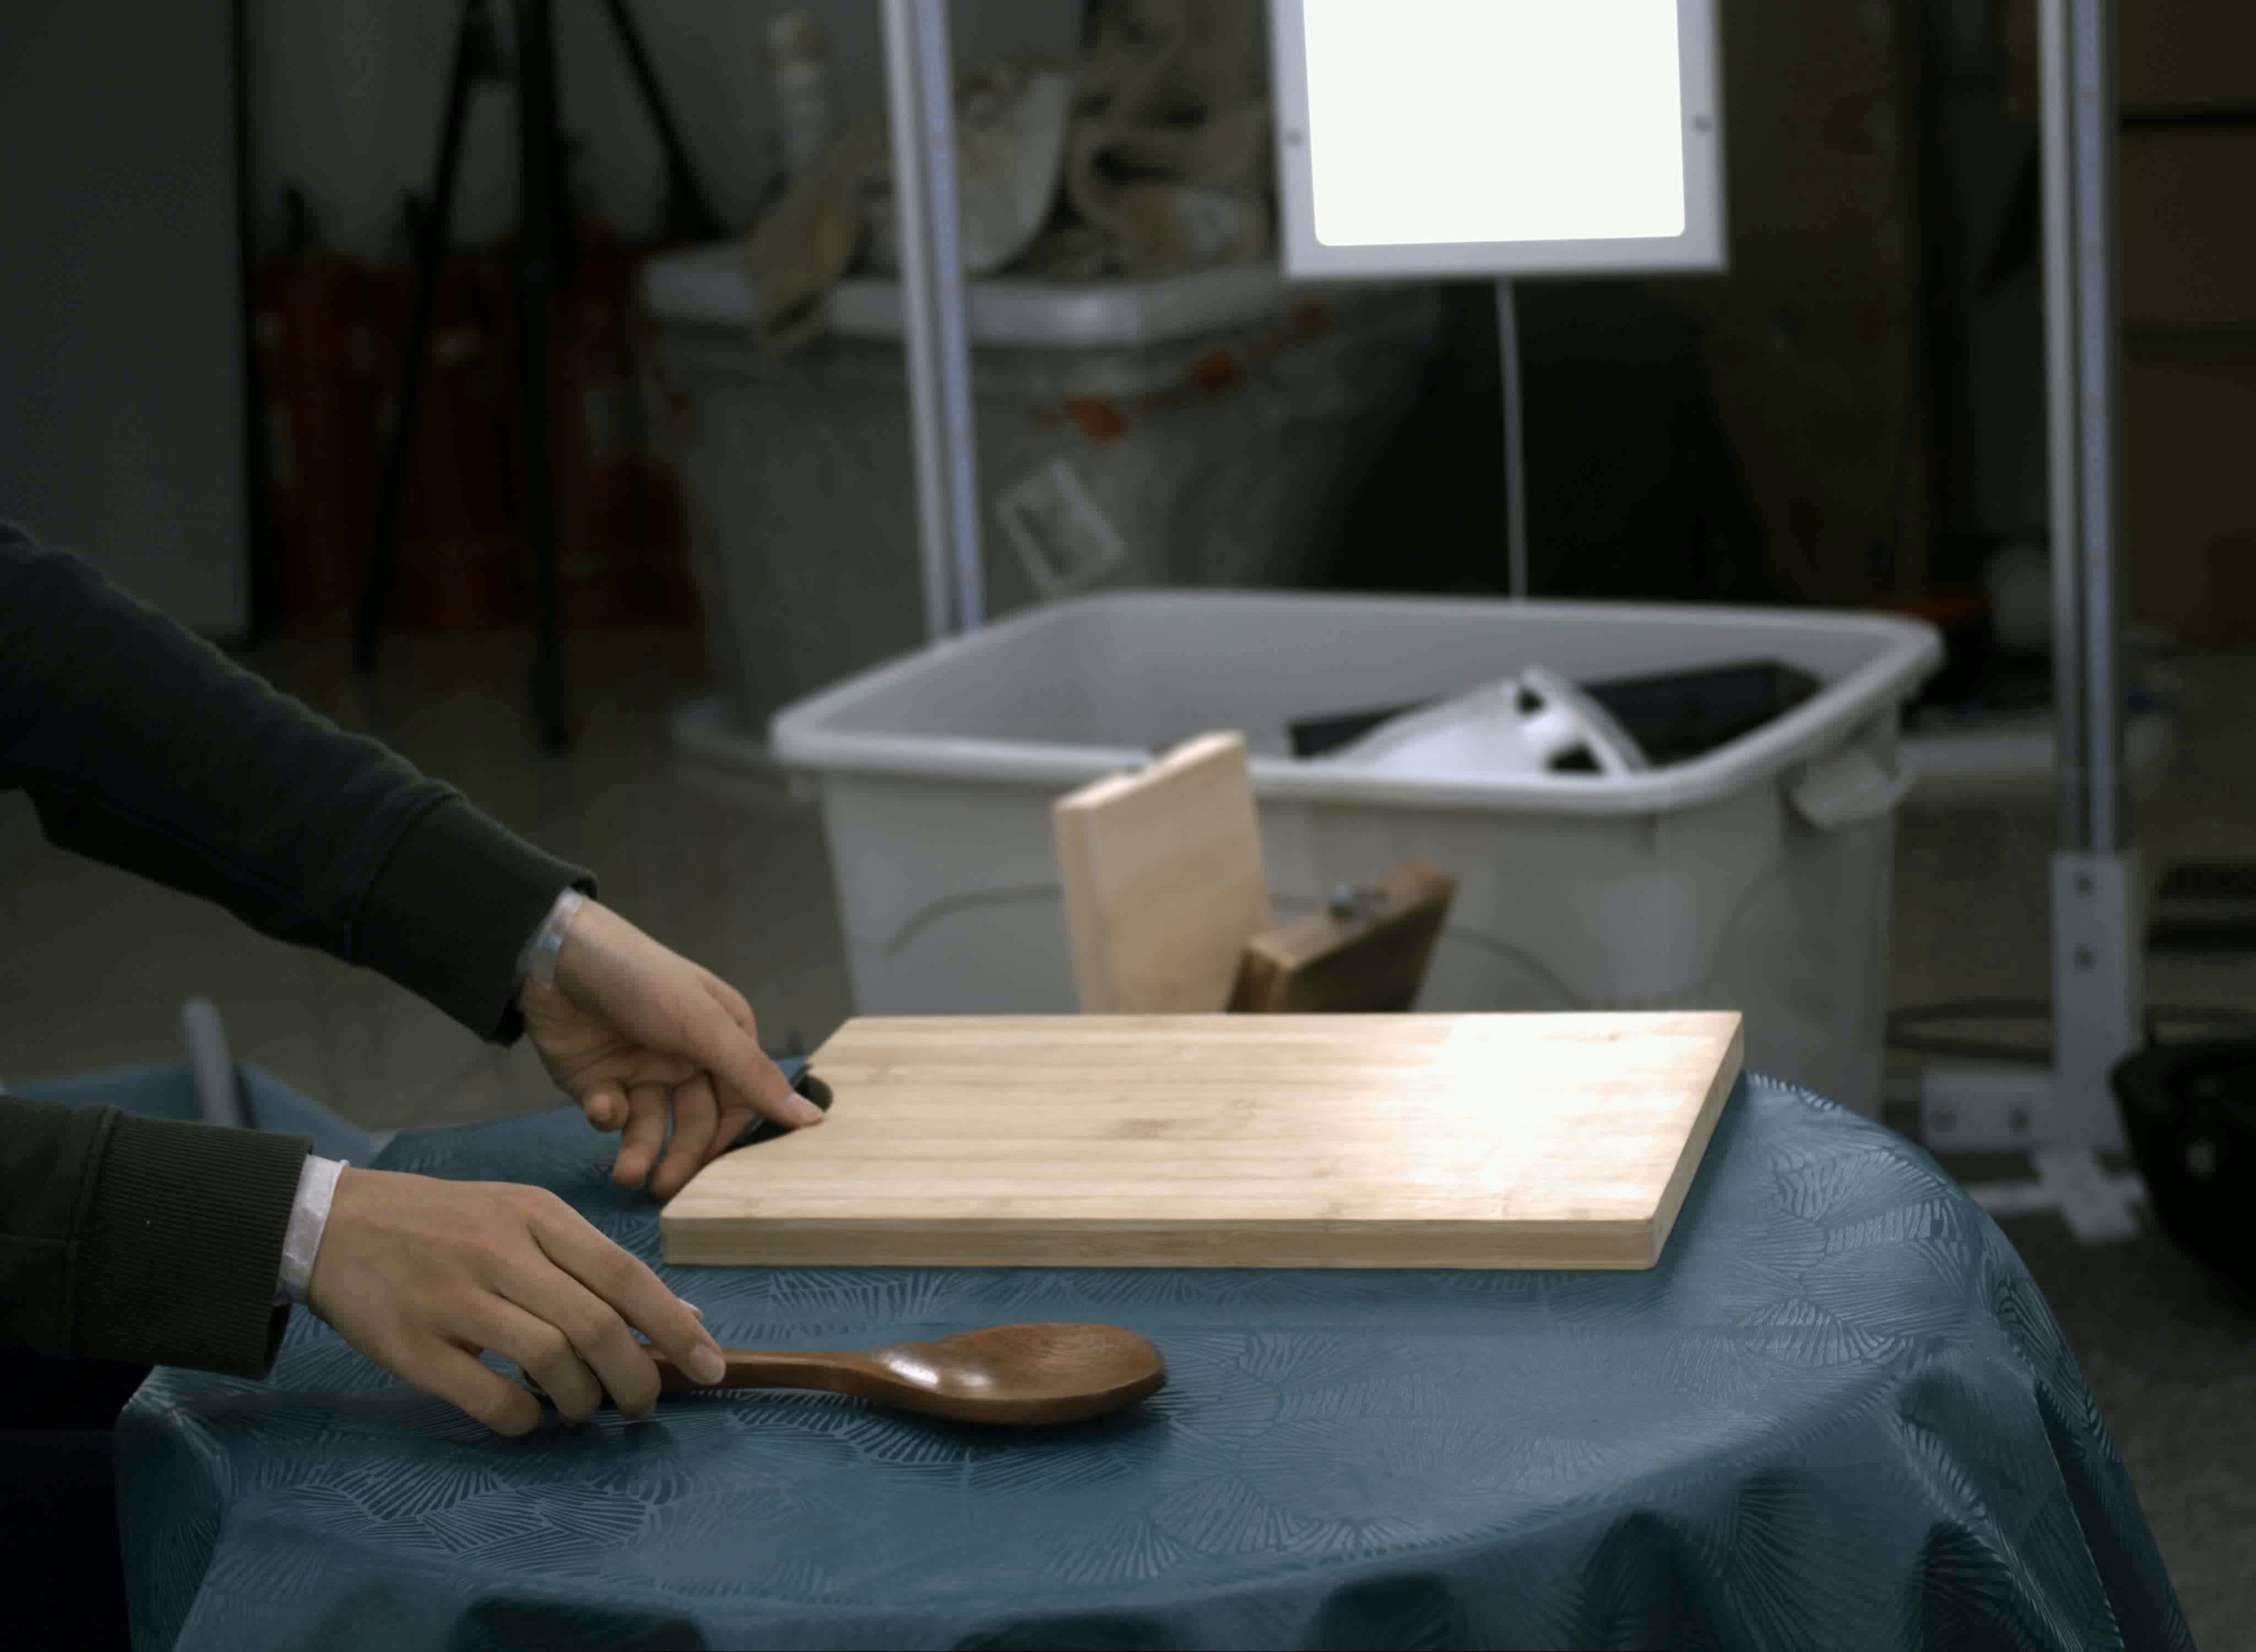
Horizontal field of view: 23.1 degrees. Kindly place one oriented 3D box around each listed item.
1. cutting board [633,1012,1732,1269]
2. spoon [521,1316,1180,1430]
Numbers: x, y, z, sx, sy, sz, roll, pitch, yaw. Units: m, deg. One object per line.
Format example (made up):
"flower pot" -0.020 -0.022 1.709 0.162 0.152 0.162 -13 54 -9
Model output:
"cutting board" 0.026 0.109 1.928 0.352 0.023 0.247 -1 14 15
"spoon" -0.088 0.170 1.715 0.218 0.017 0.074 1 16 19
